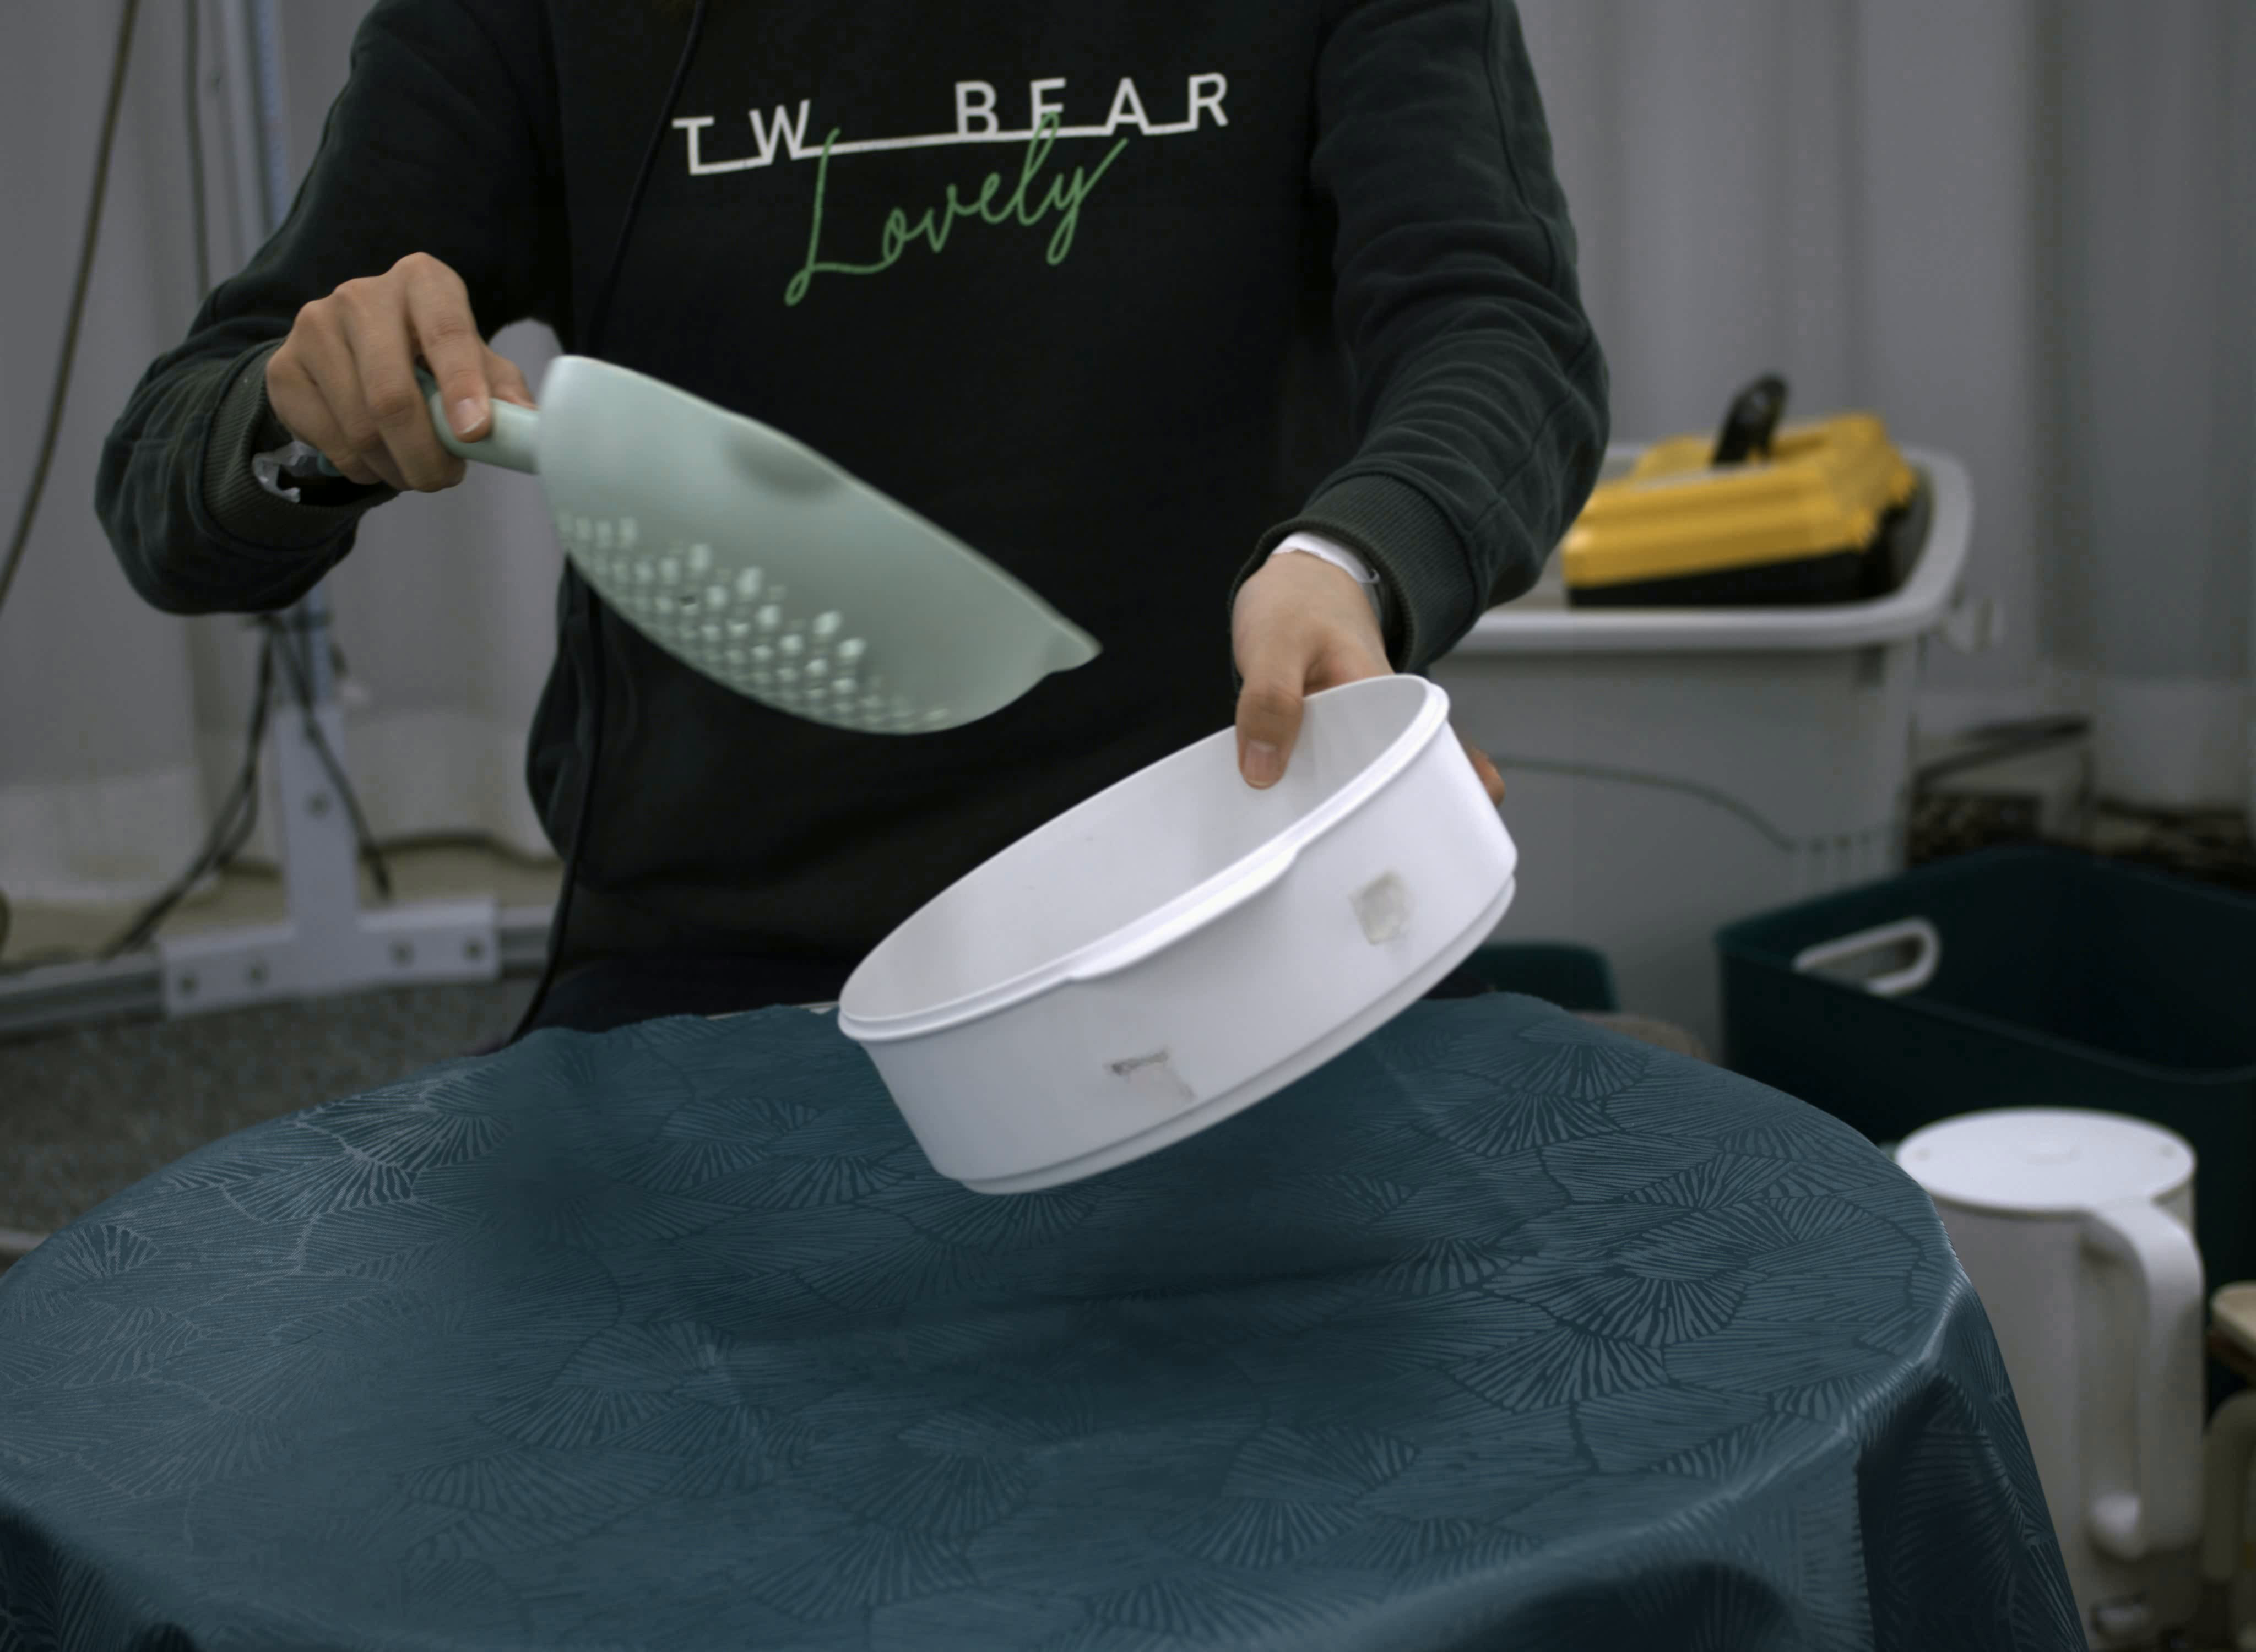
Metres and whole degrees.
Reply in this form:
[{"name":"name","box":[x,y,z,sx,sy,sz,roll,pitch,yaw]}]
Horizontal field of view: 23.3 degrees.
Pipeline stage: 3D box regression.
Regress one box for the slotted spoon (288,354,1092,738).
[{"name":"slotted spoon","box":[-0.157,-0.100,1.642,0.167,0.075,0.362,36,-3,-37]}]

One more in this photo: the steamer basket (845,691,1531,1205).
[{"name":"steamer basket","box":[0.020,0.037,1.581,0.201,0.069,0.231,-28,11,-3]}]
